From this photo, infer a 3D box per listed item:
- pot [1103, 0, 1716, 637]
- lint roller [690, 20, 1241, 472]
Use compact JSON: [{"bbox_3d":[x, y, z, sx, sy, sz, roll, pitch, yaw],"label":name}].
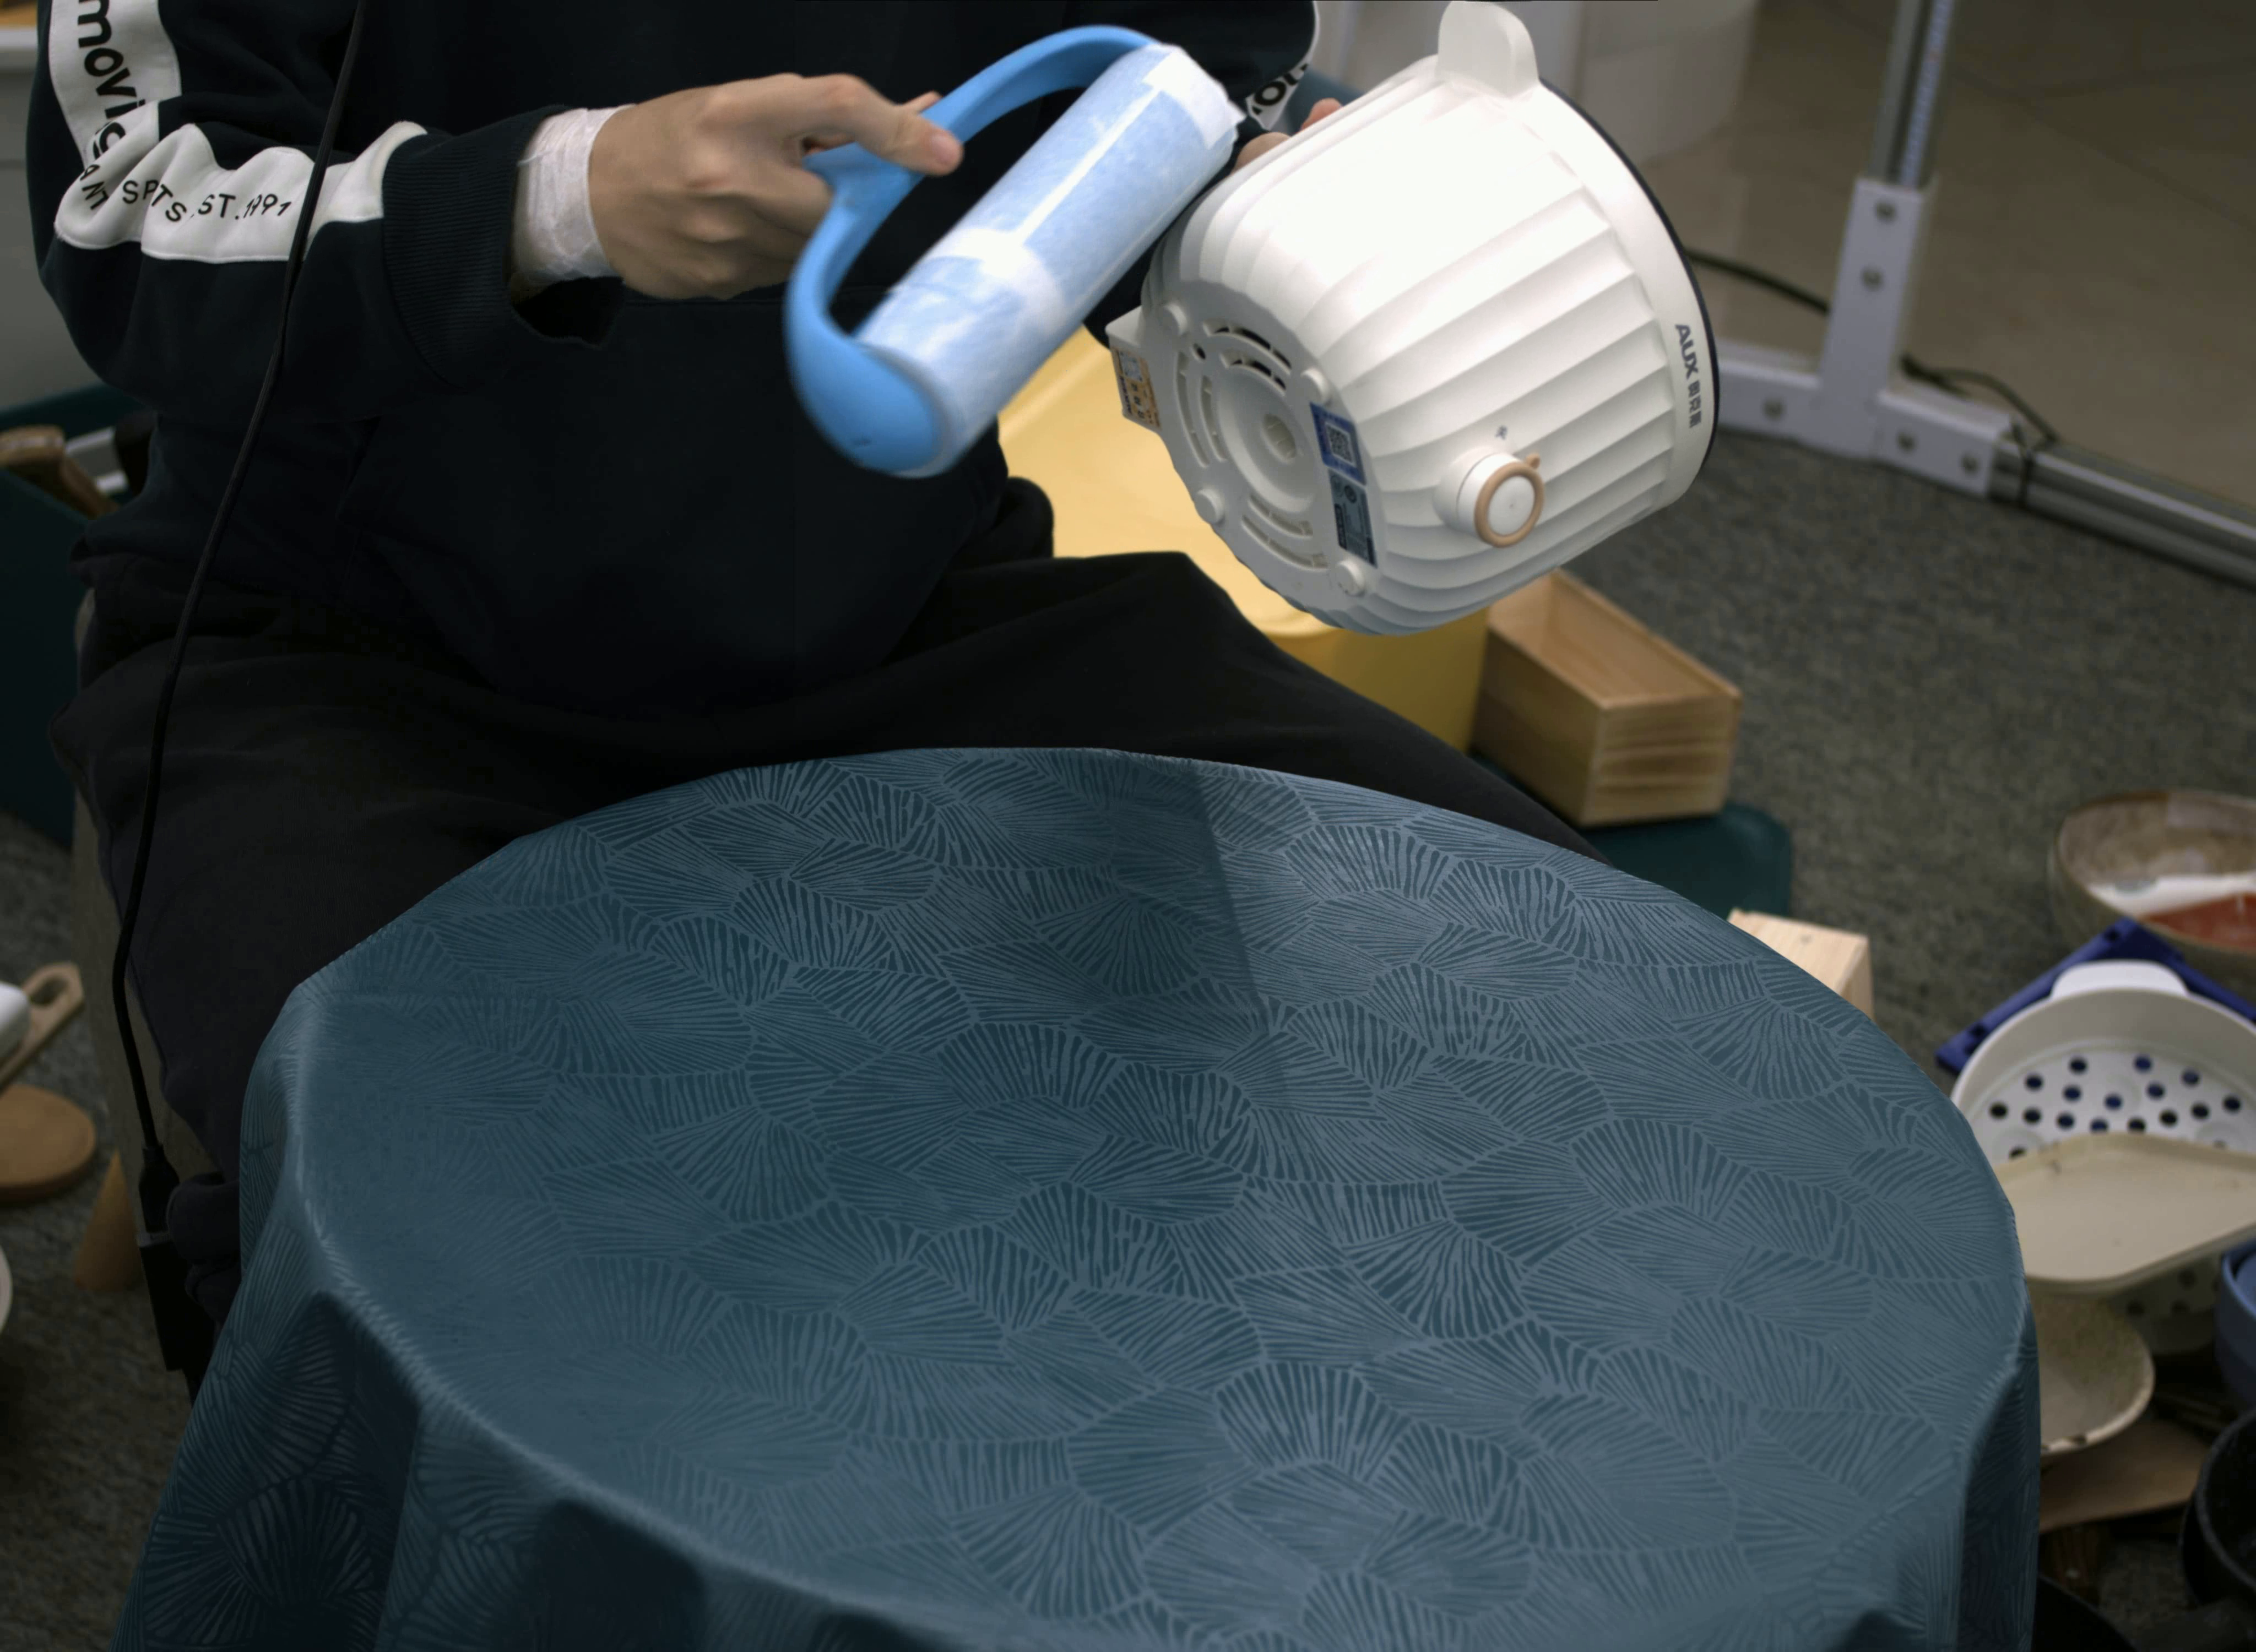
[{"bbox_3d":[0.099,-0.159,1.870,0.142,0.239,0.192,-34,40,-27],"label":"pot"},{"bbox_3d":[-0.078,-0.204,1.834,0.181,0.067,0.229,7,42,24],"label":"lint roller"}]
